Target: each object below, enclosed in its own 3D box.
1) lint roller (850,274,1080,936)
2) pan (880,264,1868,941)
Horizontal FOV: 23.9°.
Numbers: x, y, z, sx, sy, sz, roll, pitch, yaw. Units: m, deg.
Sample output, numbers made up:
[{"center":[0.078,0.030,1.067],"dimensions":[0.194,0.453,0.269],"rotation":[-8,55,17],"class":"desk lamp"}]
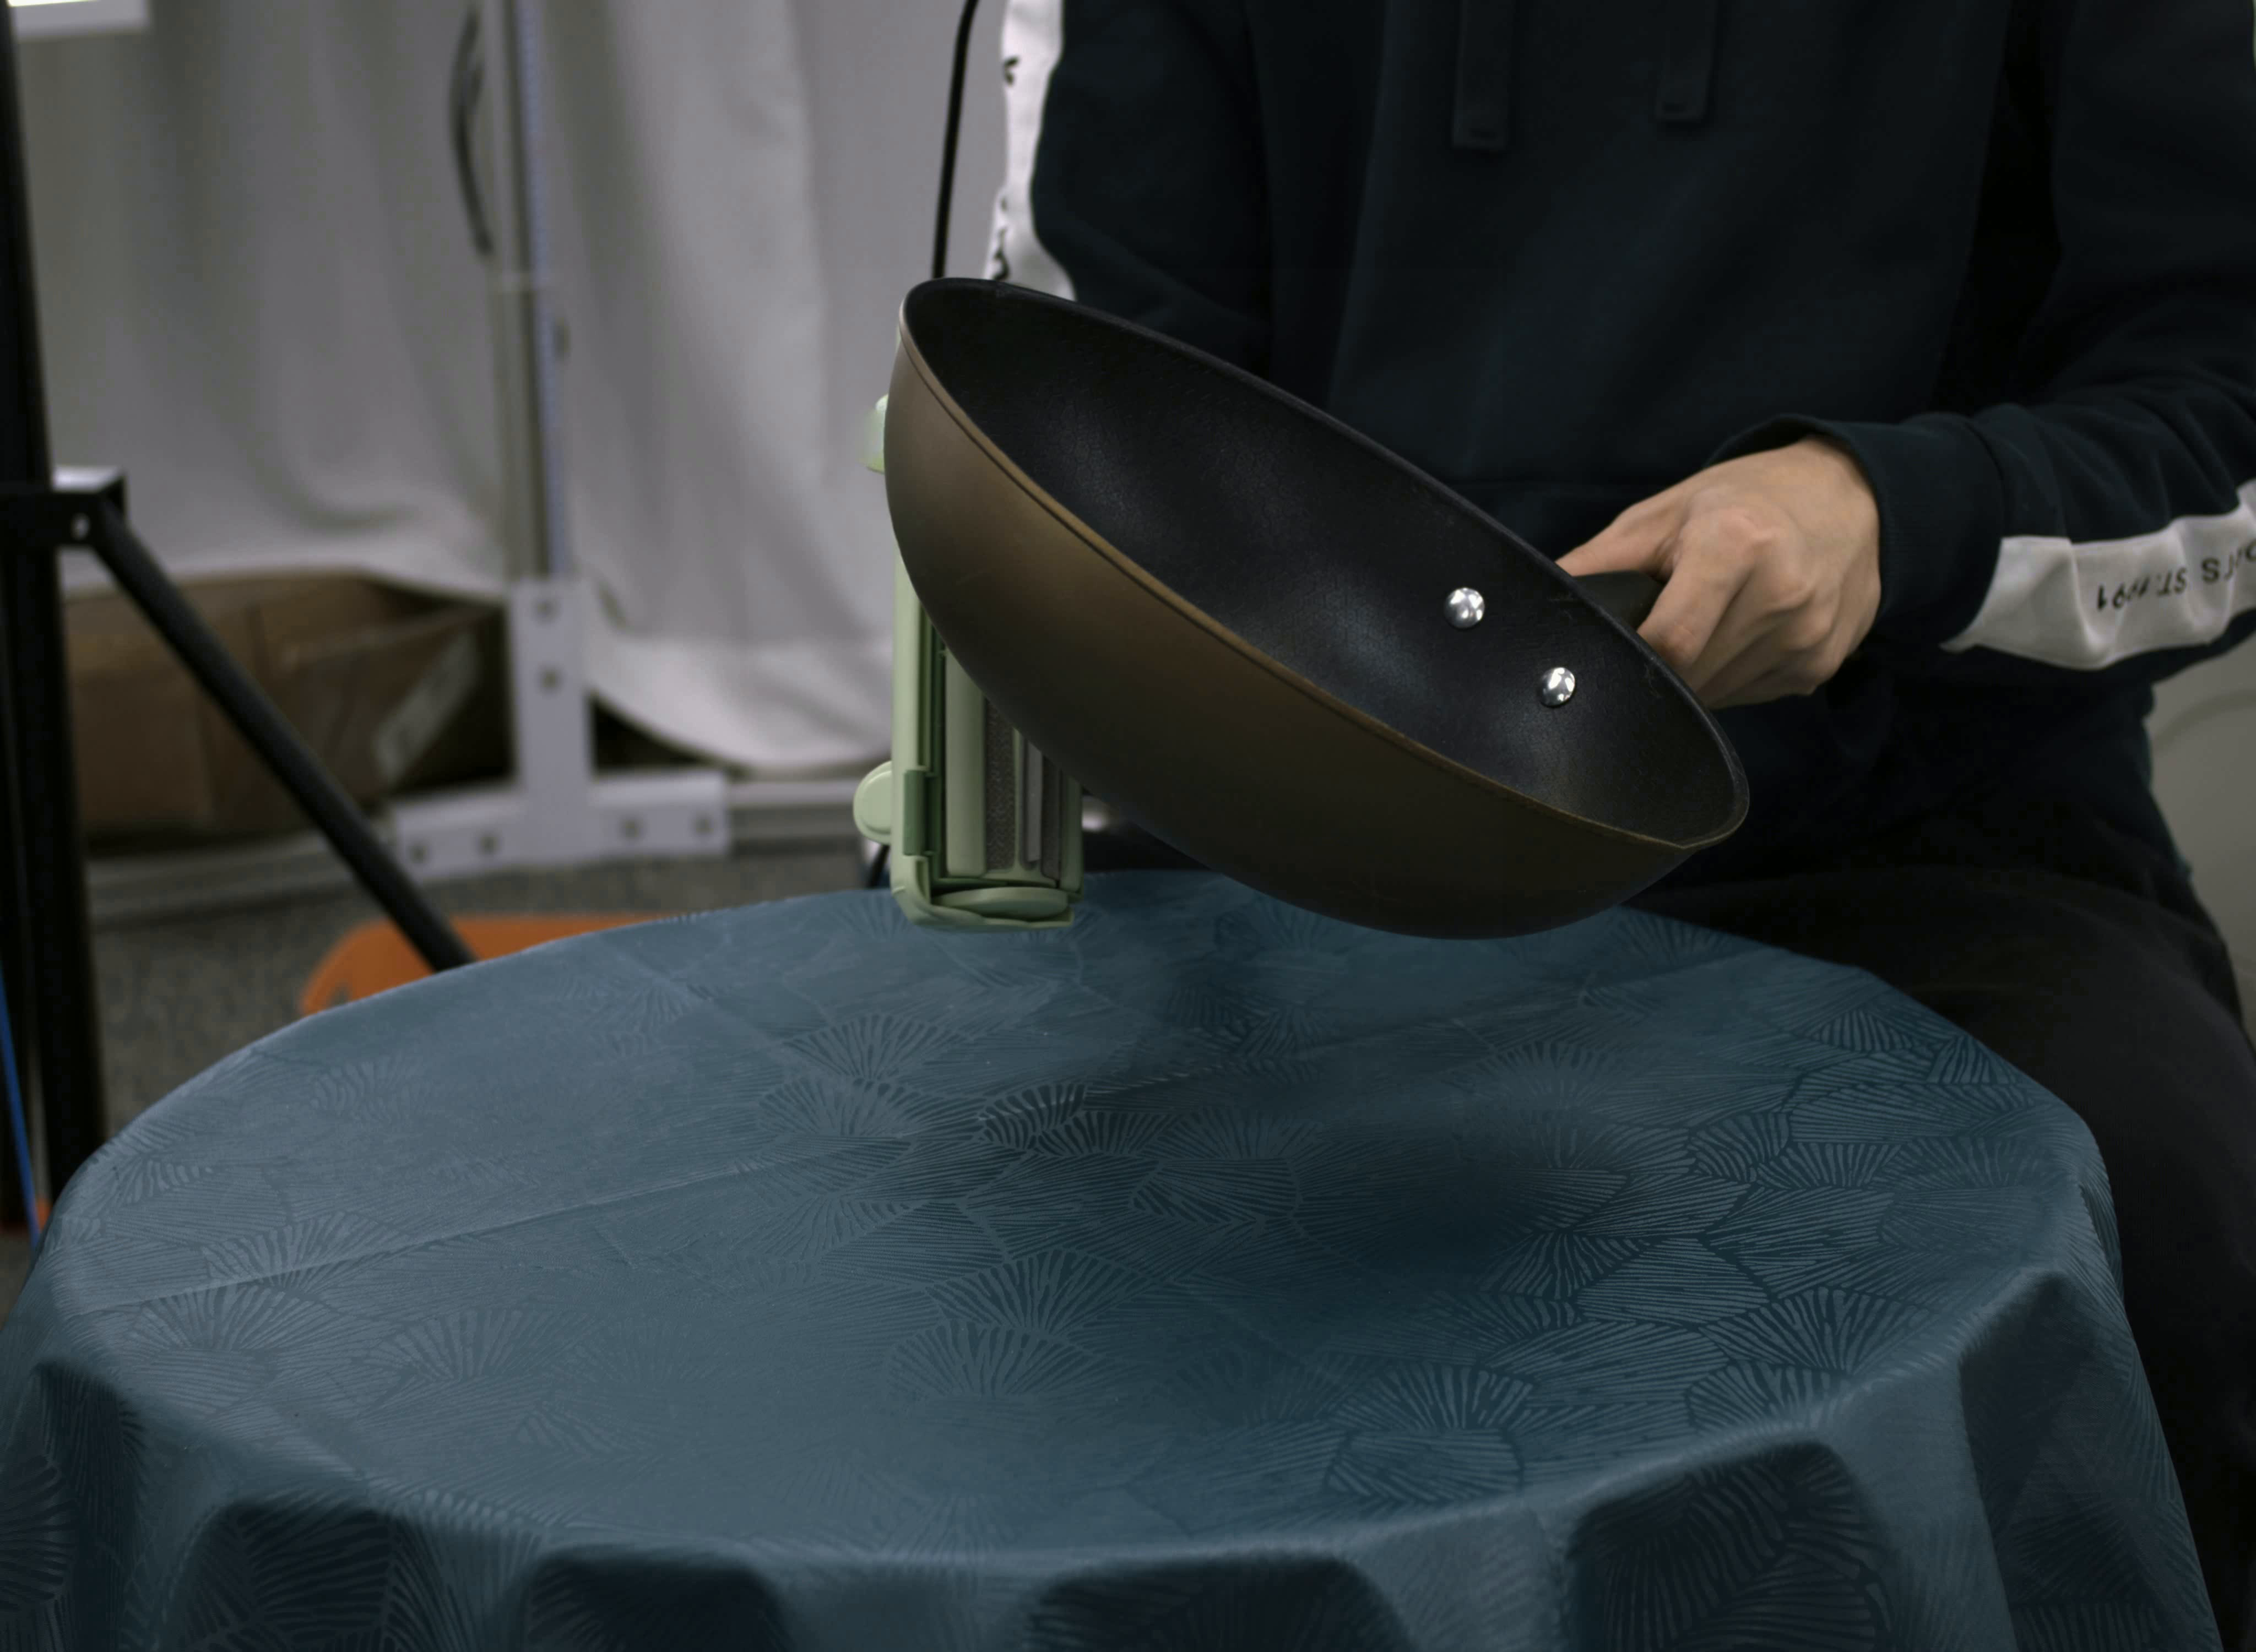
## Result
[{"center":[-0.035,-0.057,1.674],"dimensions":[0.083,0.200,0.180],"rotation":[-3,-11,18],"class":"lint roller"},{"center":[0.088,-0.046,1.595],"dimensions":[0.294,0.087,0.452],"rotation":[42,20,30],"class":"pan"}]
